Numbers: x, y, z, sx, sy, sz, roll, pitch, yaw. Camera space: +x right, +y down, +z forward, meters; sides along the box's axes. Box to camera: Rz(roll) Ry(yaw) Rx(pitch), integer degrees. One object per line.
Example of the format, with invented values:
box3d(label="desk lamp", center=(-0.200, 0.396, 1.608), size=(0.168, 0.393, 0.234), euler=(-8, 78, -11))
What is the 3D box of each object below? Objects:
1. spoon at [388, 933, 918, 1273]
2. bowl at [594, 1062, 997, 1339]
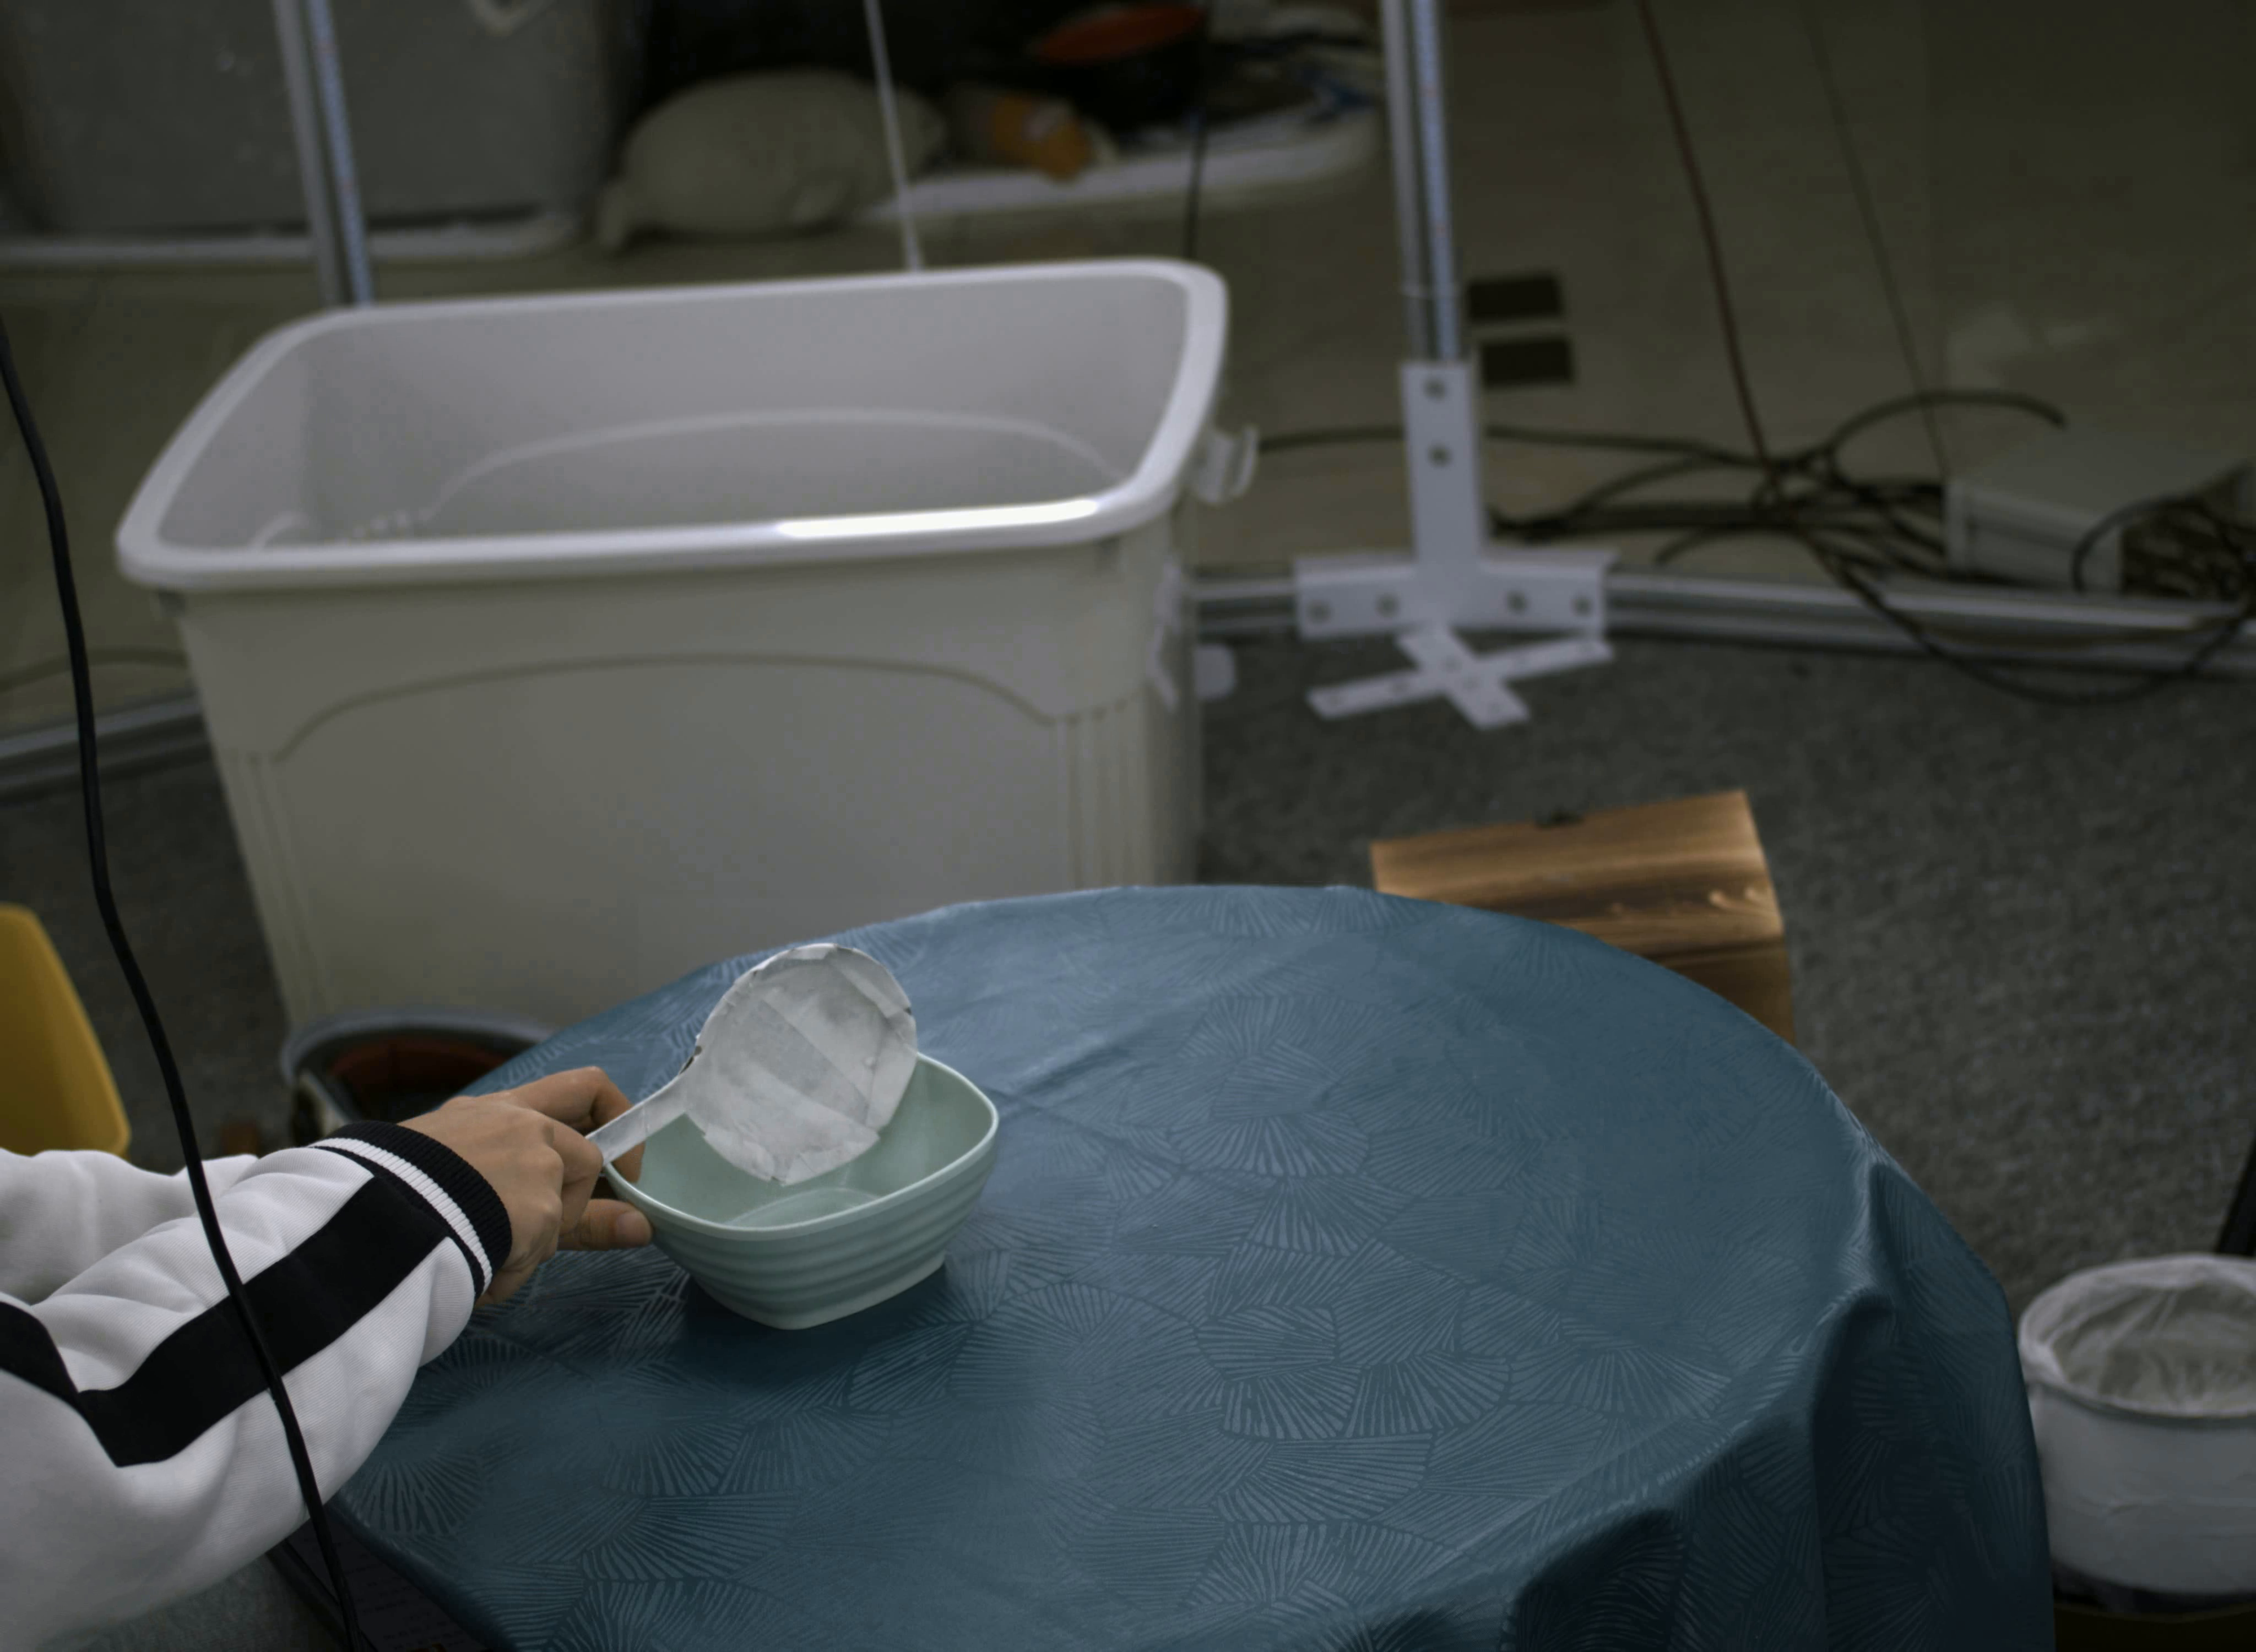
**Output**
box3d(label="spoon", center=(-0.165, 0.109, 2.023), size=(0.059, 0.102, 0.275), euler=(6, 17, 26))
box3d(label="bowl", center=(-0.121, 0.142, 2.110), size=(0.151, 0.059, 0.149), euler=(-5, 24, 3))
